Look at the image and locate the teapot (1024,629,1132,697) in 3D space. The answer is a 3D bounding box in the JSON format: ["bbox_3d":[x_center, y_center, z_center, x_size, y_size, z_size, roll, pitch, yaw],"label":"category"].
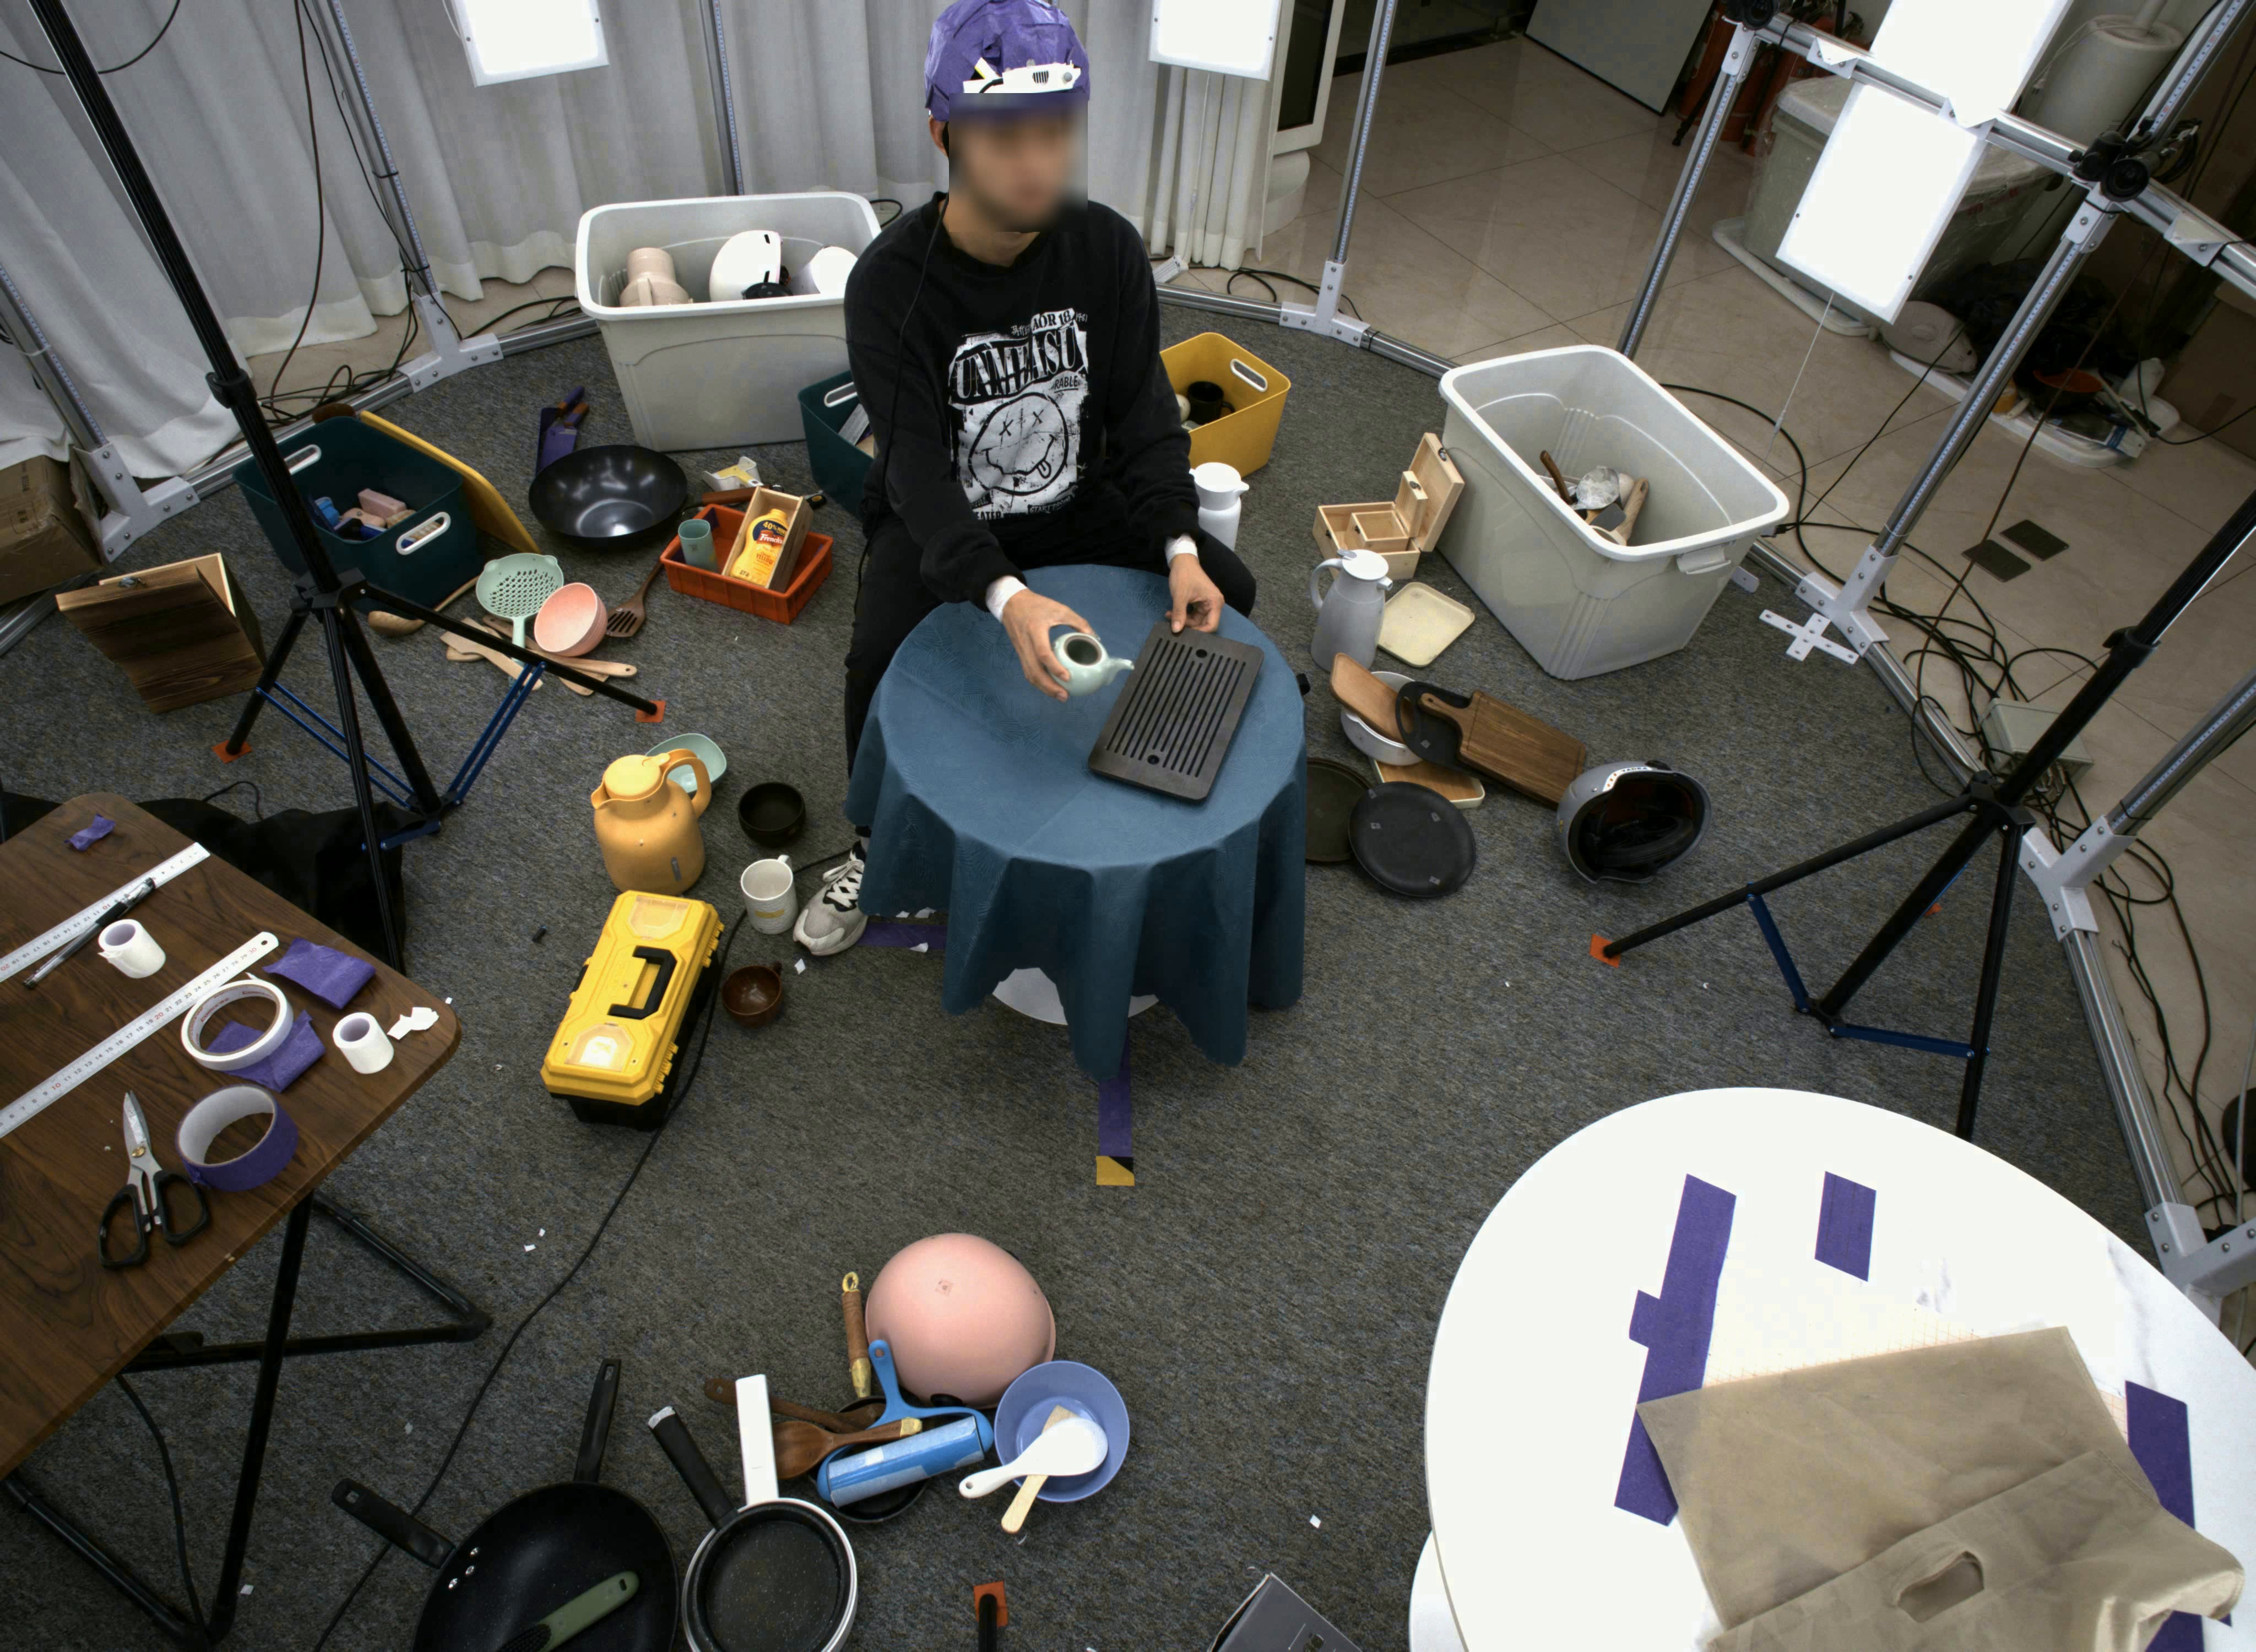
[{"bbox_3d":[-0.071,-0.215,1.704,0.143,0.073,0.090,20,51,-8],"label":"teapot"}]

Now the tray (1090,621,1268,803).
[{"bbox_3d":[0.076,-0.164,1.796,0.171,0.018,0.312,17,53,11],"label":"tray"}]
